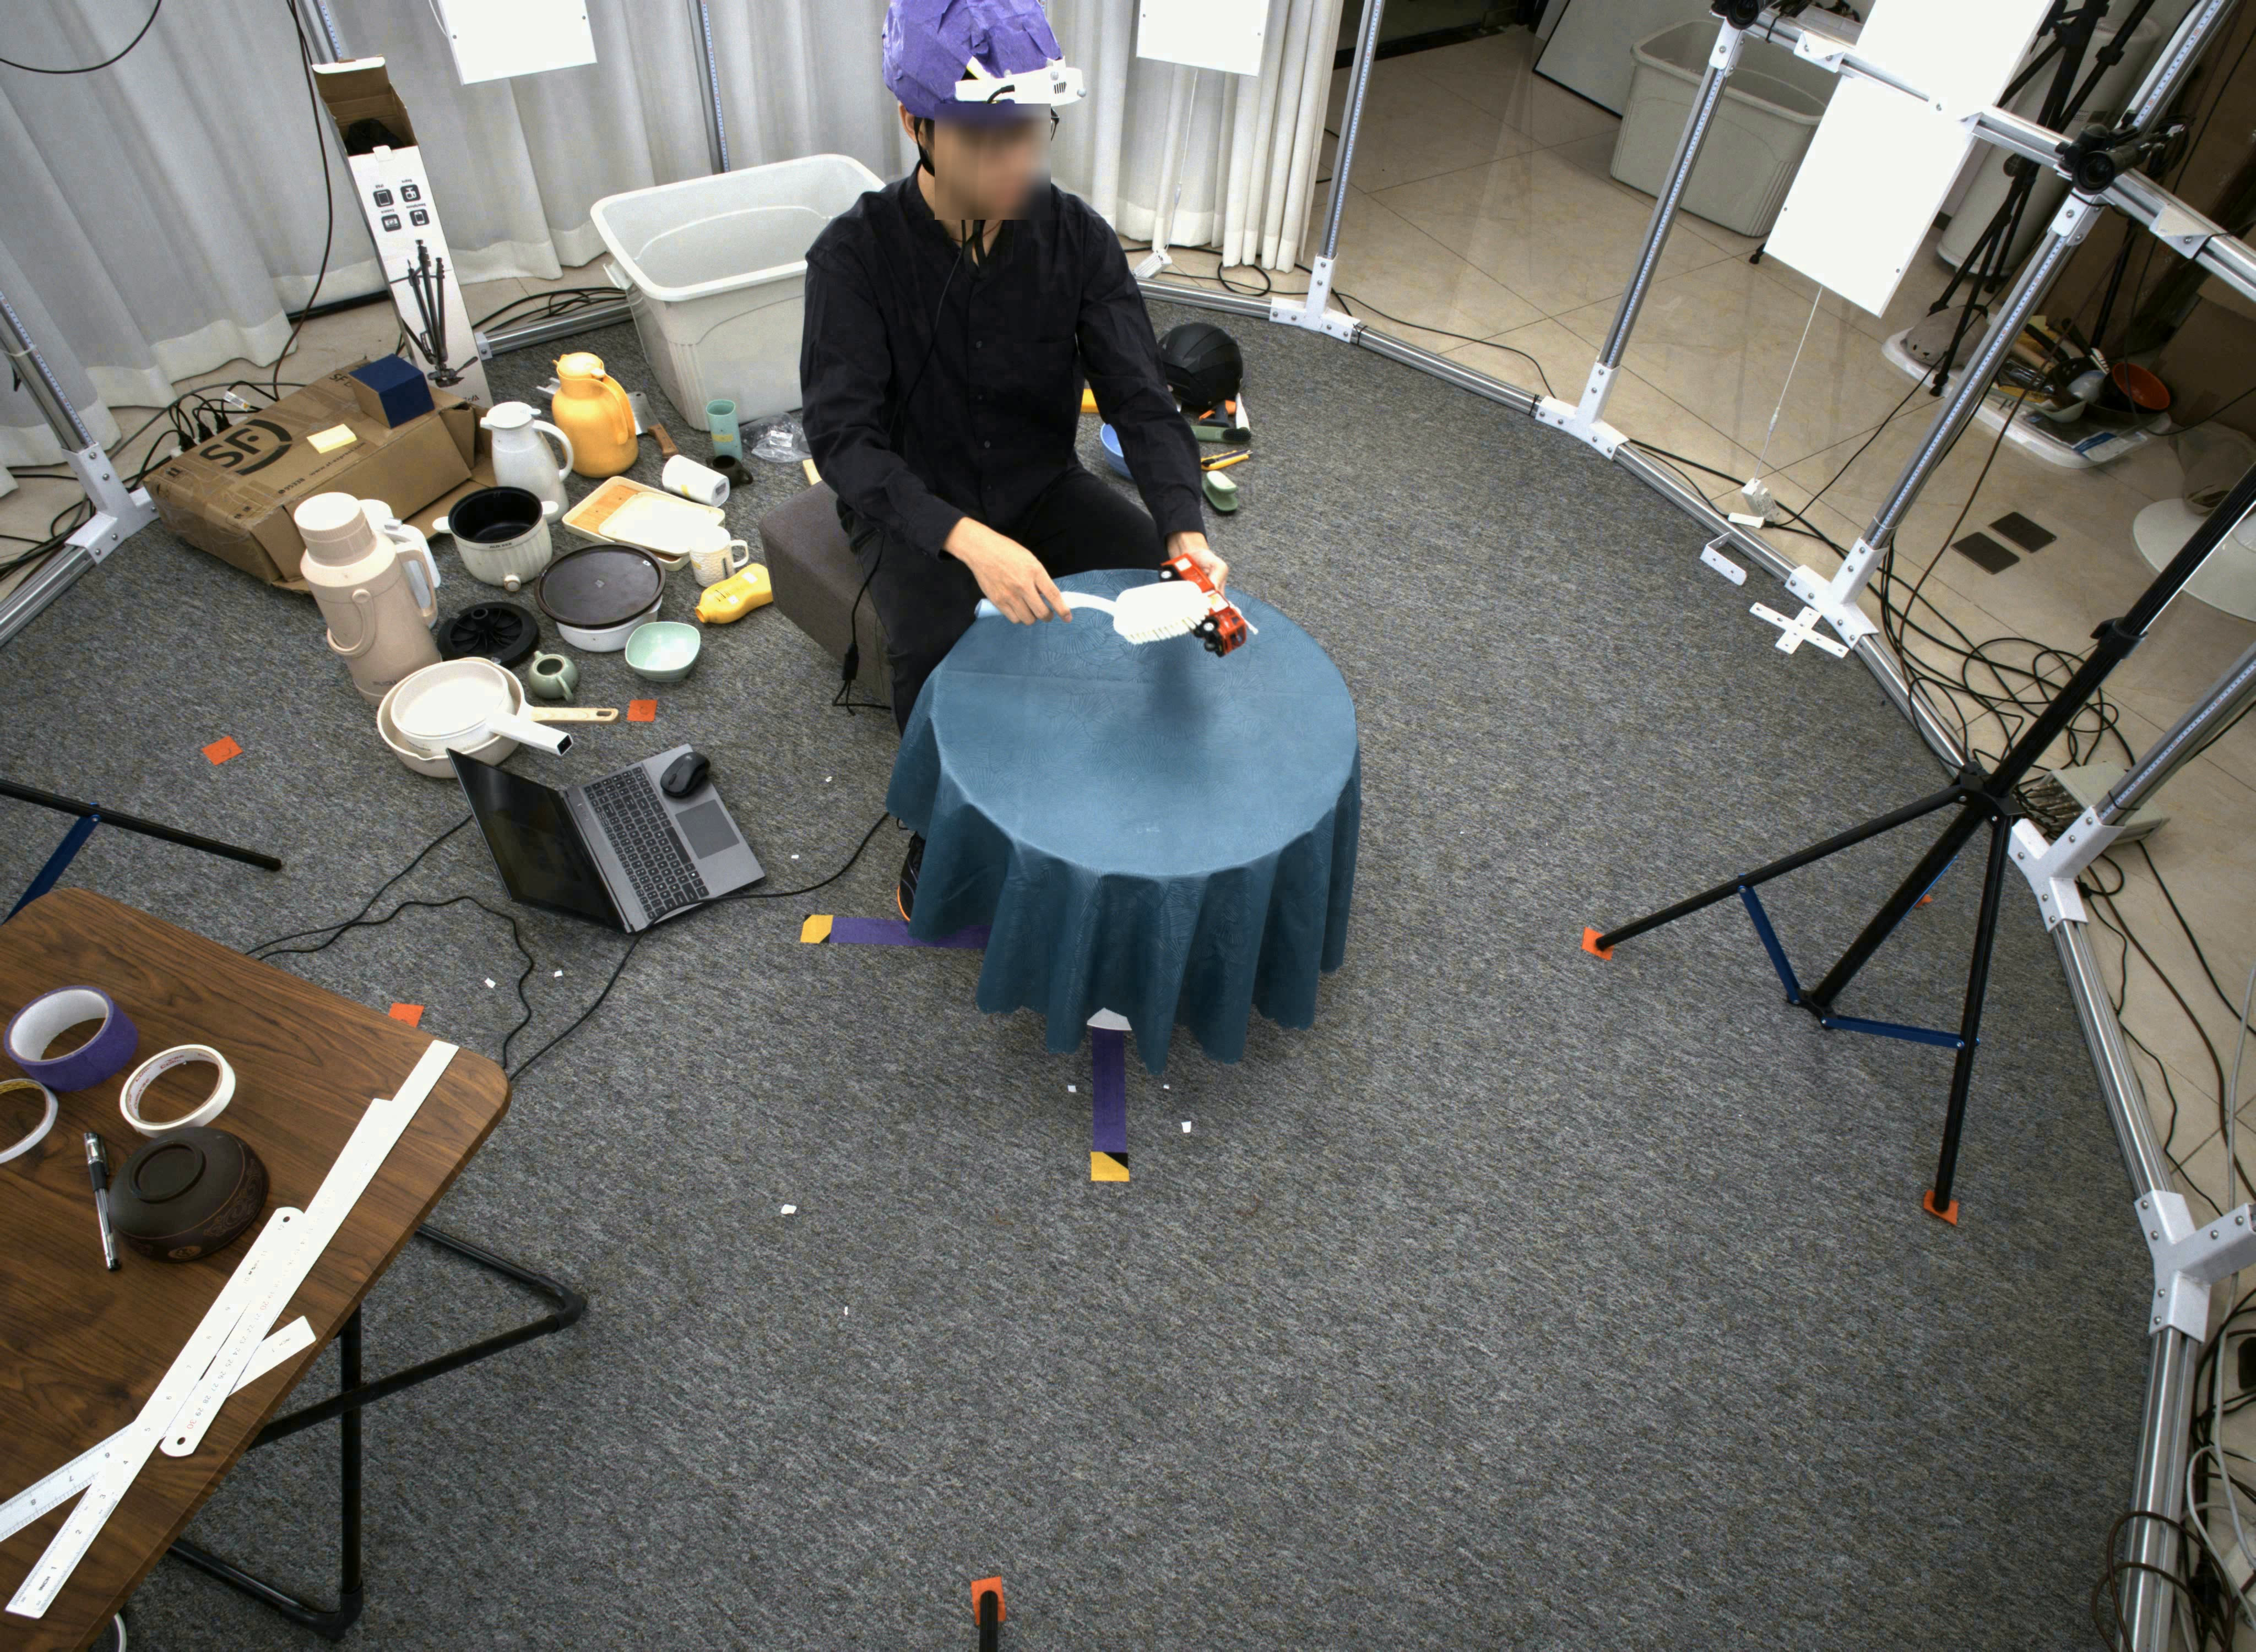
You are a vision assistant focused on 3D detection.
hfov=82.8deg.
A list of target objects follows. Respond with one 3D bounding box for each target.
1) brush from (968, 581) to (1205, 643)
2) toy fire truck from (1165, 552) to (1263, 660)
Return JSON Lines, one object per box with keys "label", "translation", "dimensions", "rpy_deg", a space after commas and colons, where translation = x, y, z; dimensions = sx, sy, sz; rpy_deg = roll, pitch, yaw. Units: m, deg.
{"label": "brush", "translation": [-0.054, -0.287, 1.732], "dimensions": [0.326, 0.083, 0.084], "rpy_deg": [-2, 28, 16]}
{"label": "toy fire truck", "translation": [0.107, -0.295, 1.720], "dimensions": [0.070, 0.053, 0.171], "rpy_deg": [-28, 57, -9]}
